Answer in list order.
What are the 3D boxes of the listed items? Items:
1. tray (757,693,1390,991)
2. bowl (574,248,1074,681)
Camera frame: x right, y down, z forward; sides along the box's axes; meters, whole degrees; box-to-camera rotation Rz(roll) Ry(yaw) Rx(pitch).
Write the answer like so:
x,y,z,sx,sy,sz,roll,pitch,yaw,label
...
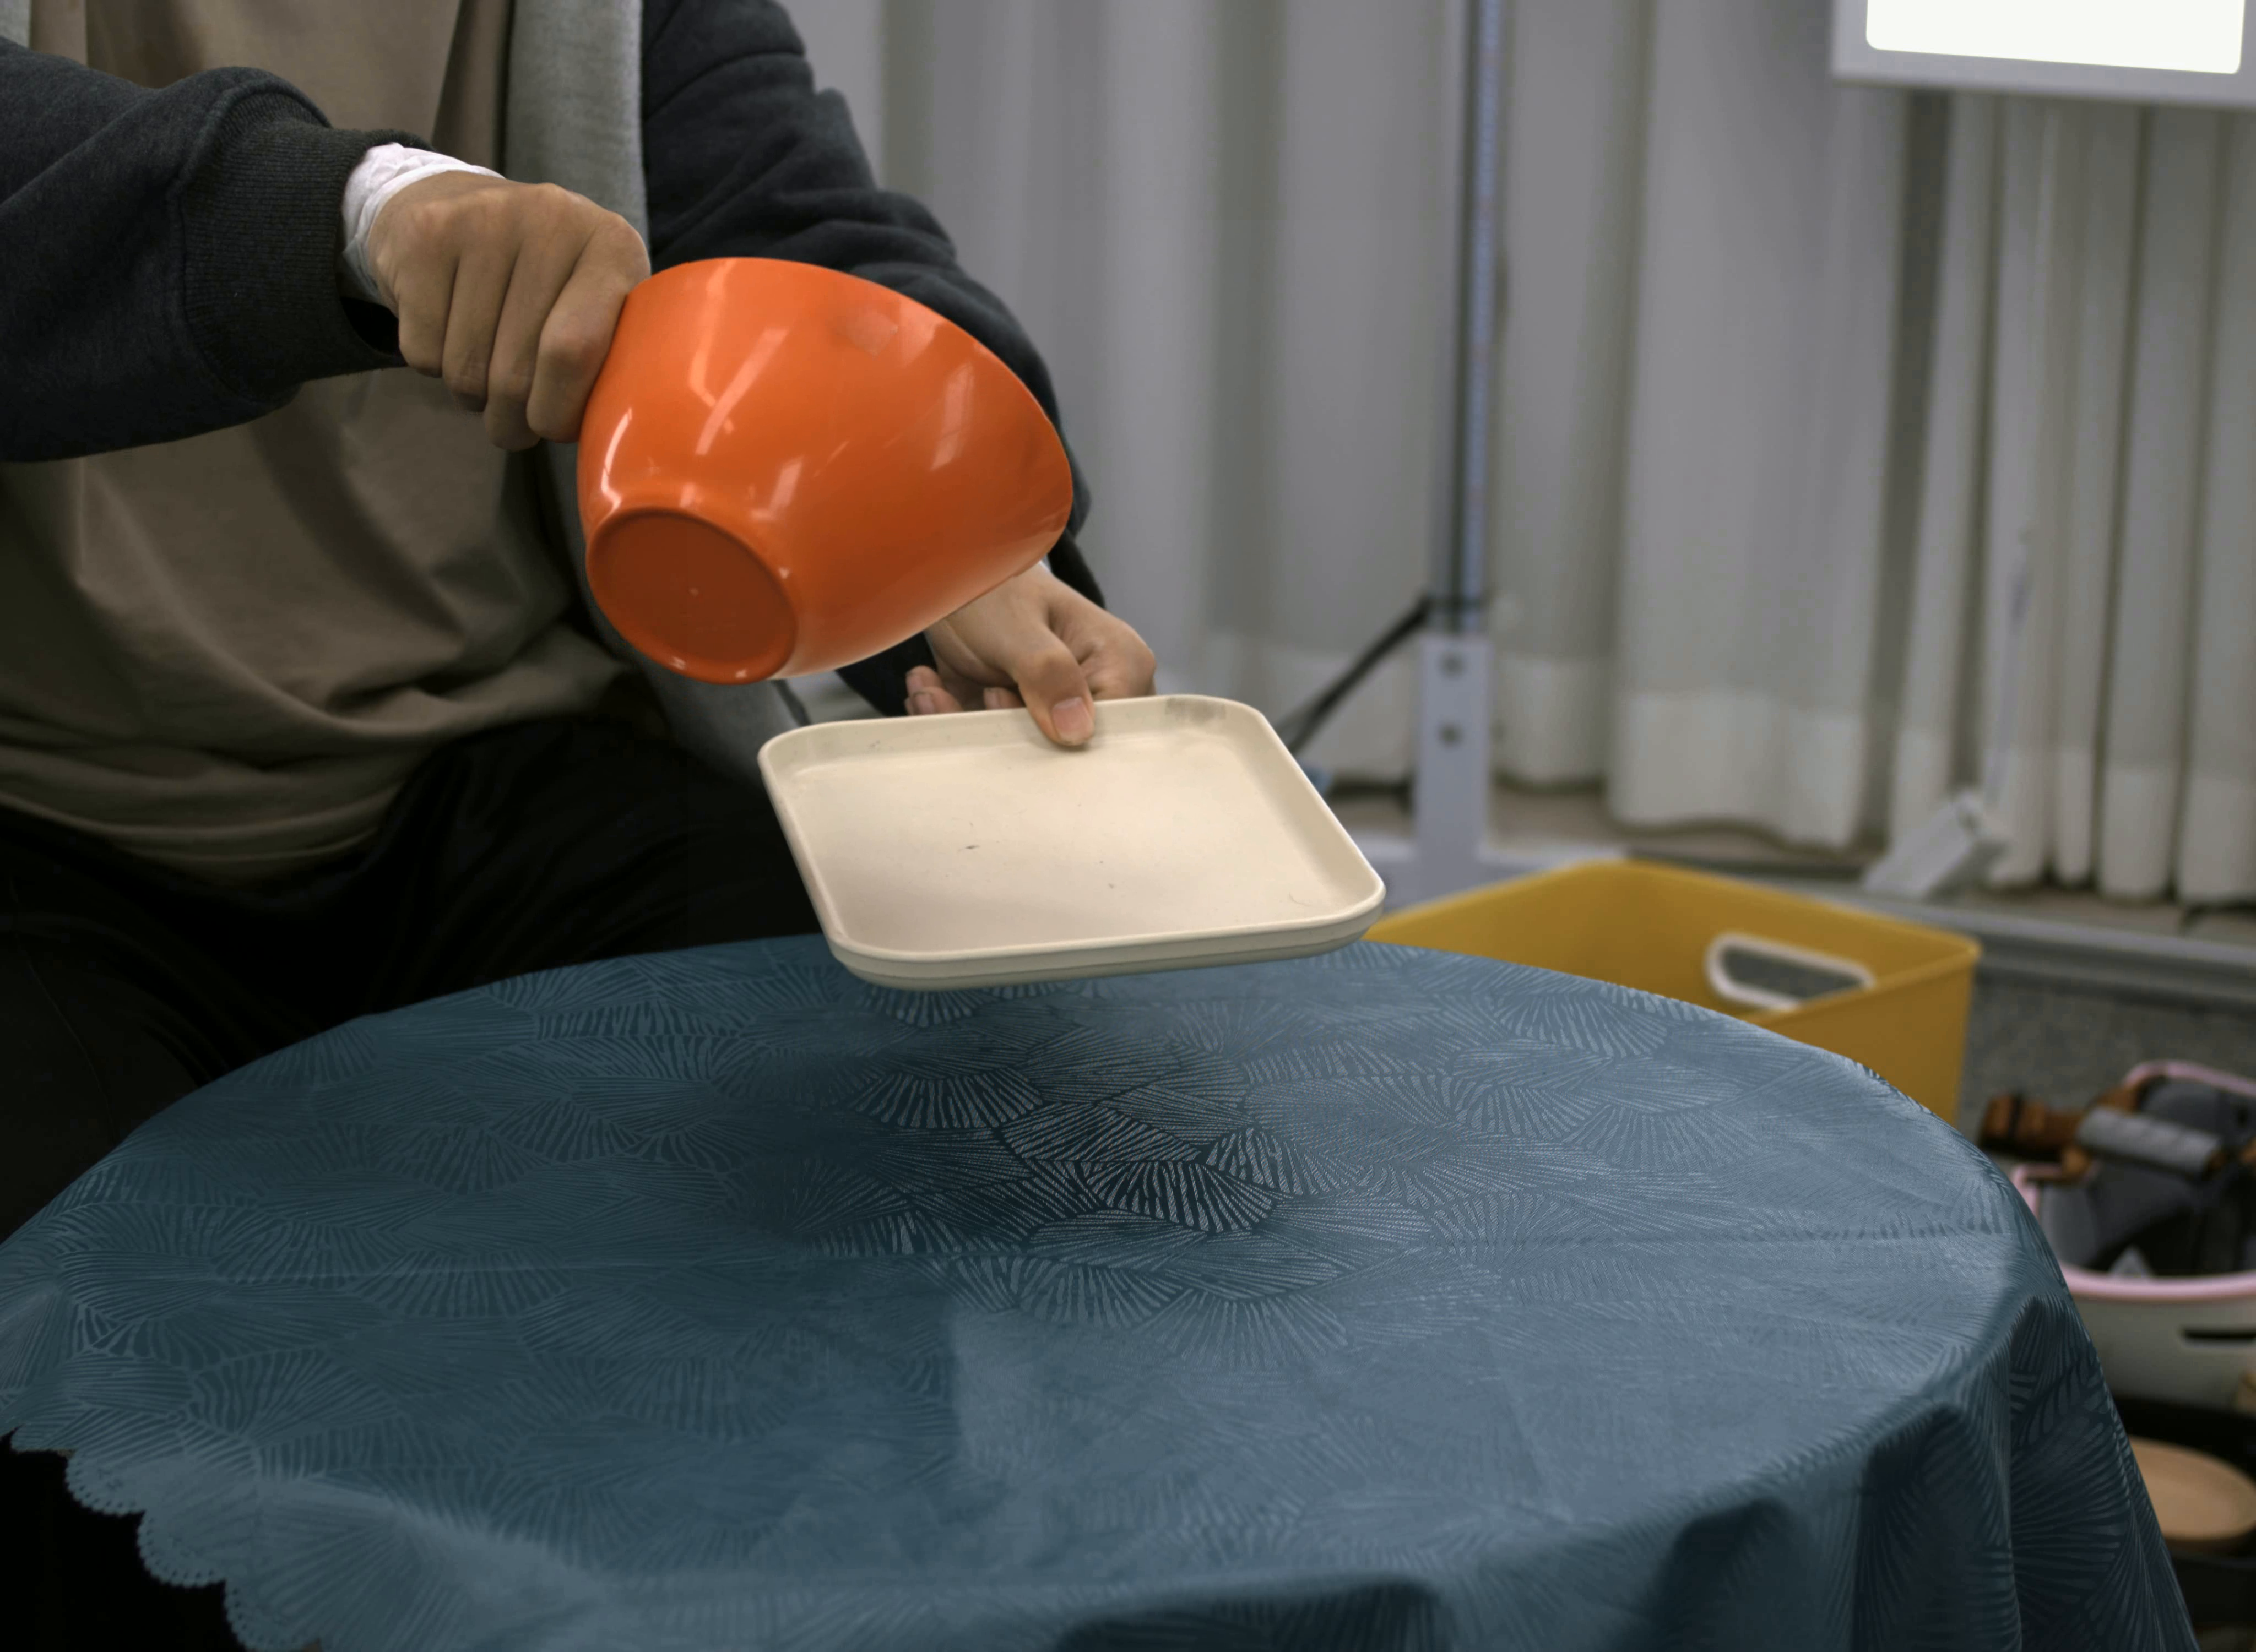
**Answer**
x,y,z,sx,sy,sz,roll,pitch,yaw,label
-0.021,0.004,1.653,0.171,0.017,0.237,-5,19,-10,tray
-0.102,-0.091,1.535,0.146,0.150,0.104,8,45,24,bowl
